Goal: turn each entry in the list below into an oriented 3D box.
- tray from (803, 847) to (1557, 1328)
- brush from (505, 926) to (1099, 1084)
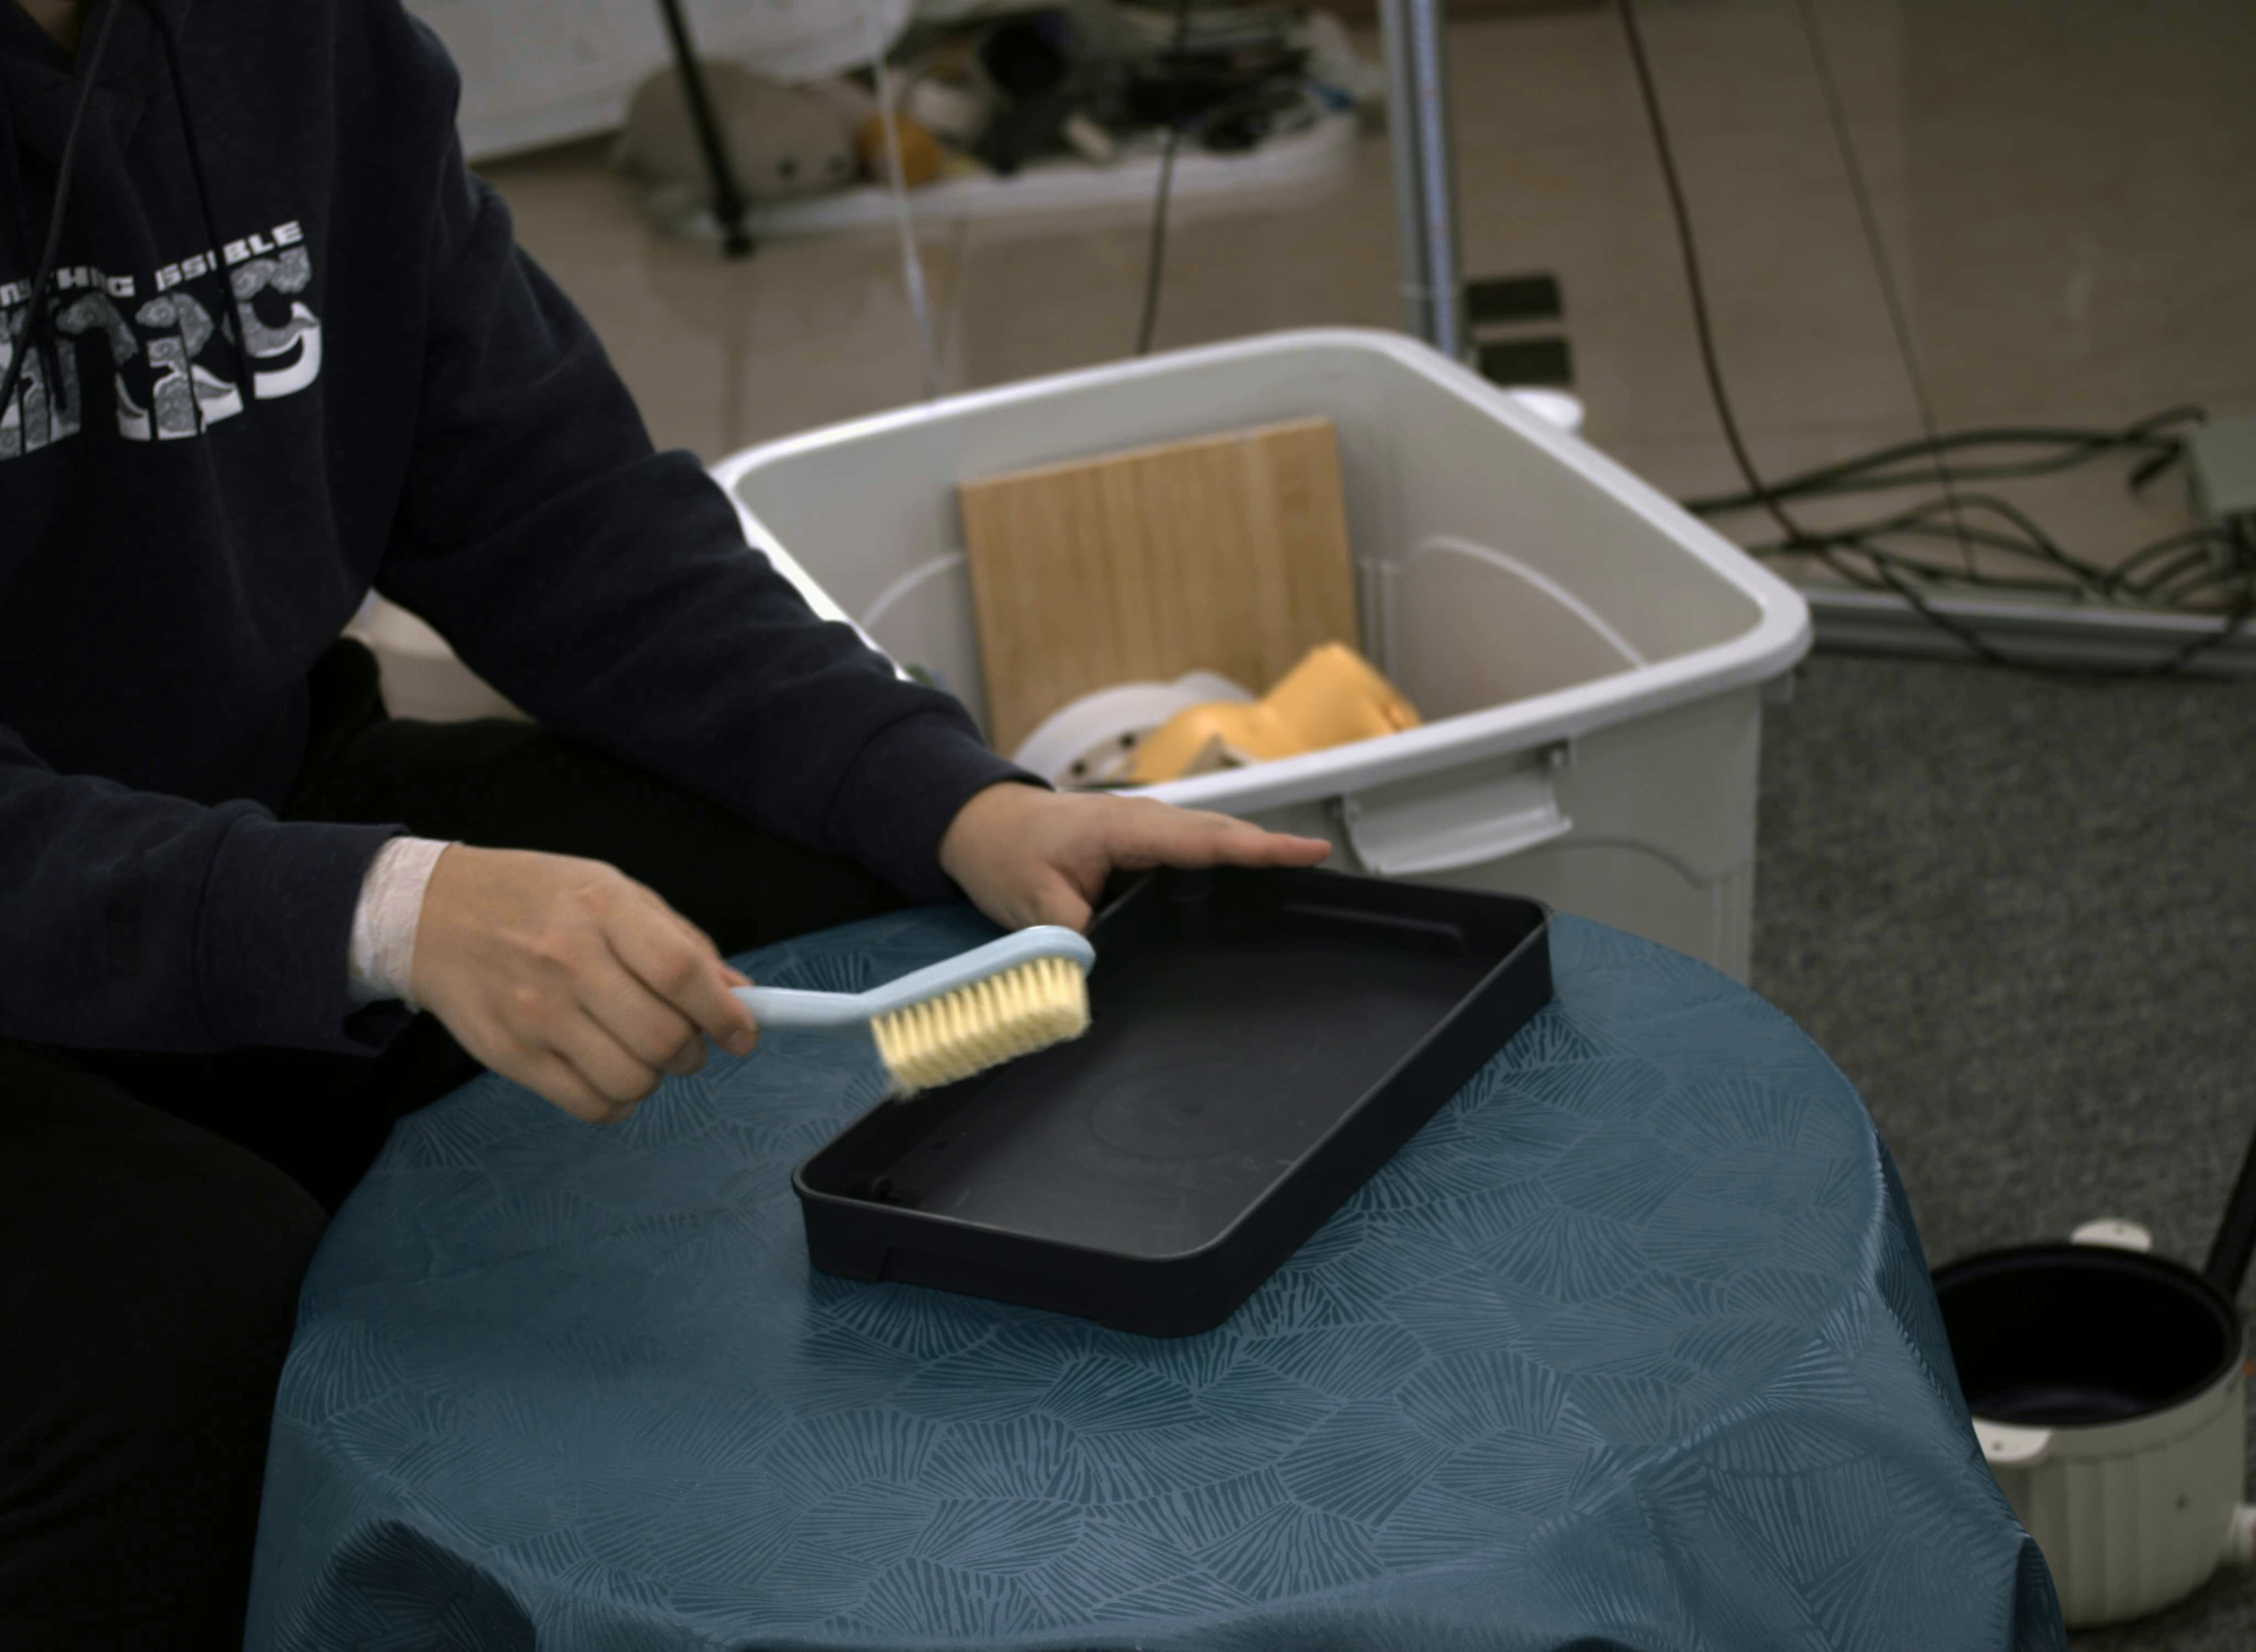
[{"bbox_3d":[0.027,0.095,2.194,0.183,0.037,0.314,7,28,28],"label":"tray"},{"bbox_3d":[-0.119,0.073,2.043,0.228,0.038,0.049,-7,69,18],"label":"brush"}]
